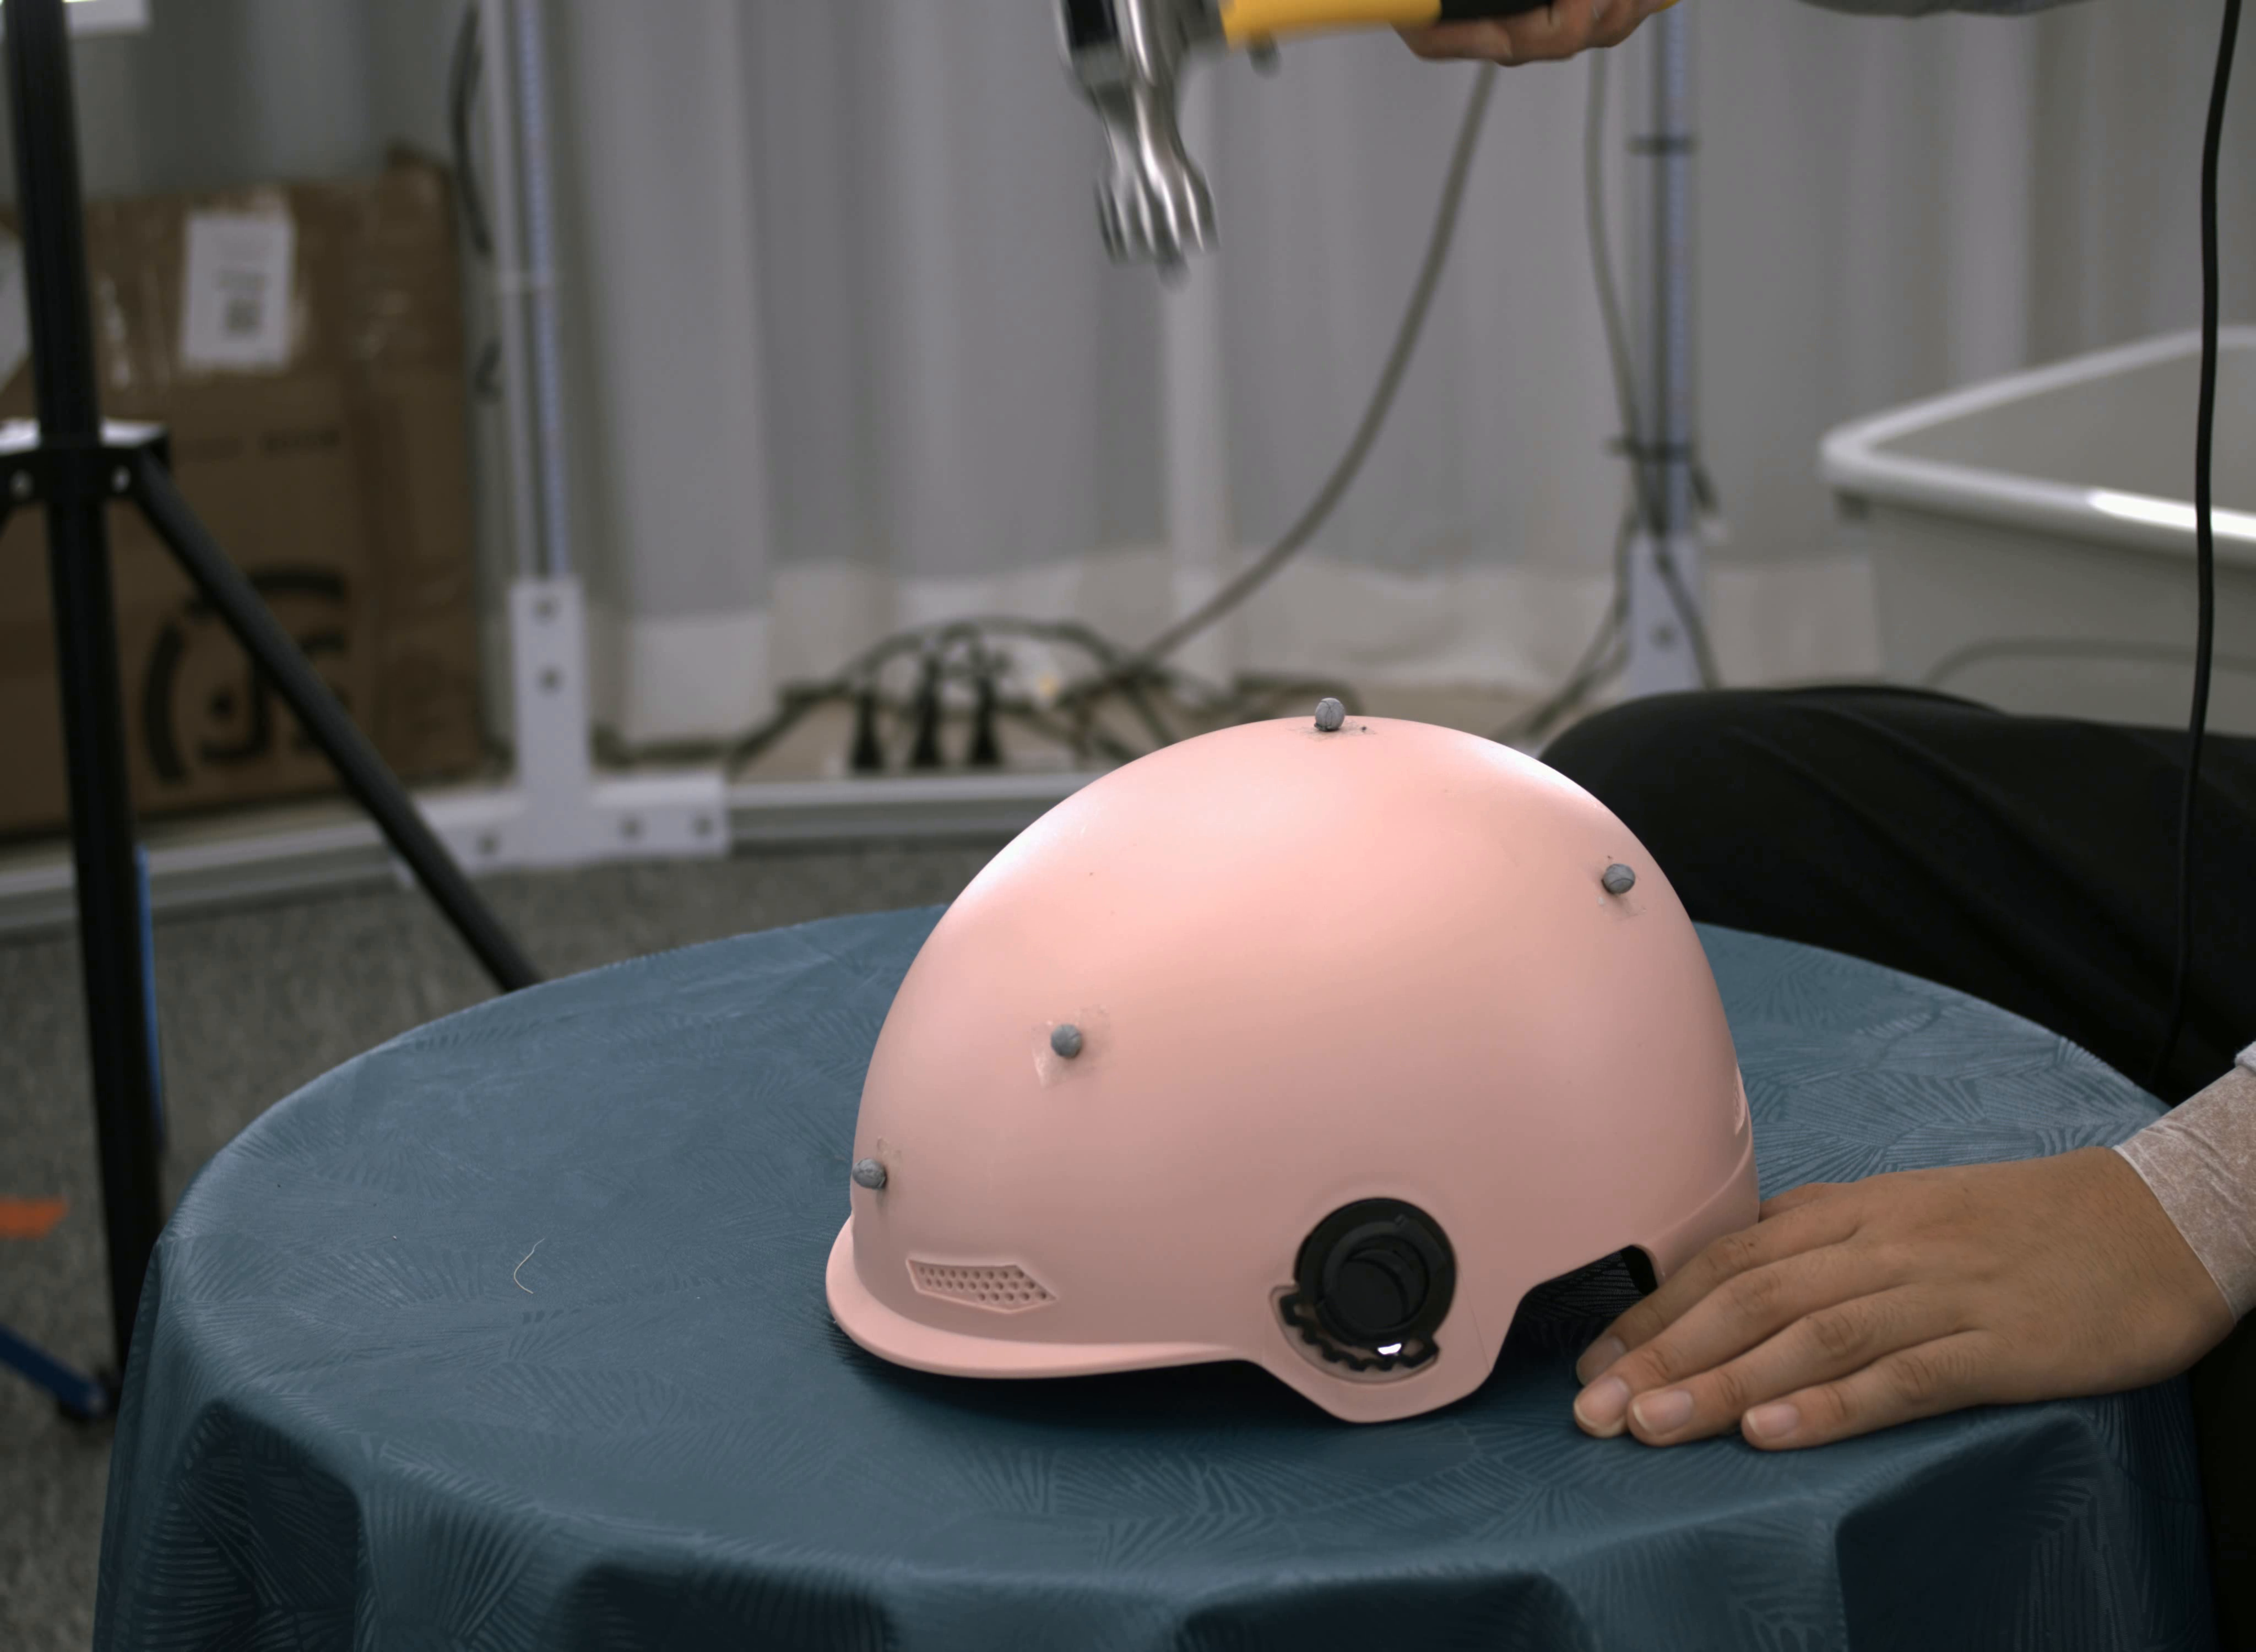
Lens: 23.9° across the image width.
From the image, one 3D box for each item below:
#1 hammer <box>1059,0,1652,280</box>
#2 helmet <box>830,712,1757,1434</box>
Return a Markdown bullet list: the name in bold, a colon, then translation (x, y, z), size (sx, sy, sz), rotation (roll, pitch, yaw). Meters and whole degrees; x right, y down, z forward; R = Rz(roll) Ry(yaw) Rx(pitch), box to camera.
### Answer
- **hammer**: translation (0.076, -0.238, 1.501), size (0.033, 0.131, 0.332), rotation (-7, 8, 32)
- **helmet**: translation (0.041, 0.055, 1.461), size (0.261, 0.158, 0.238), rotation (-13, 18, -20)
